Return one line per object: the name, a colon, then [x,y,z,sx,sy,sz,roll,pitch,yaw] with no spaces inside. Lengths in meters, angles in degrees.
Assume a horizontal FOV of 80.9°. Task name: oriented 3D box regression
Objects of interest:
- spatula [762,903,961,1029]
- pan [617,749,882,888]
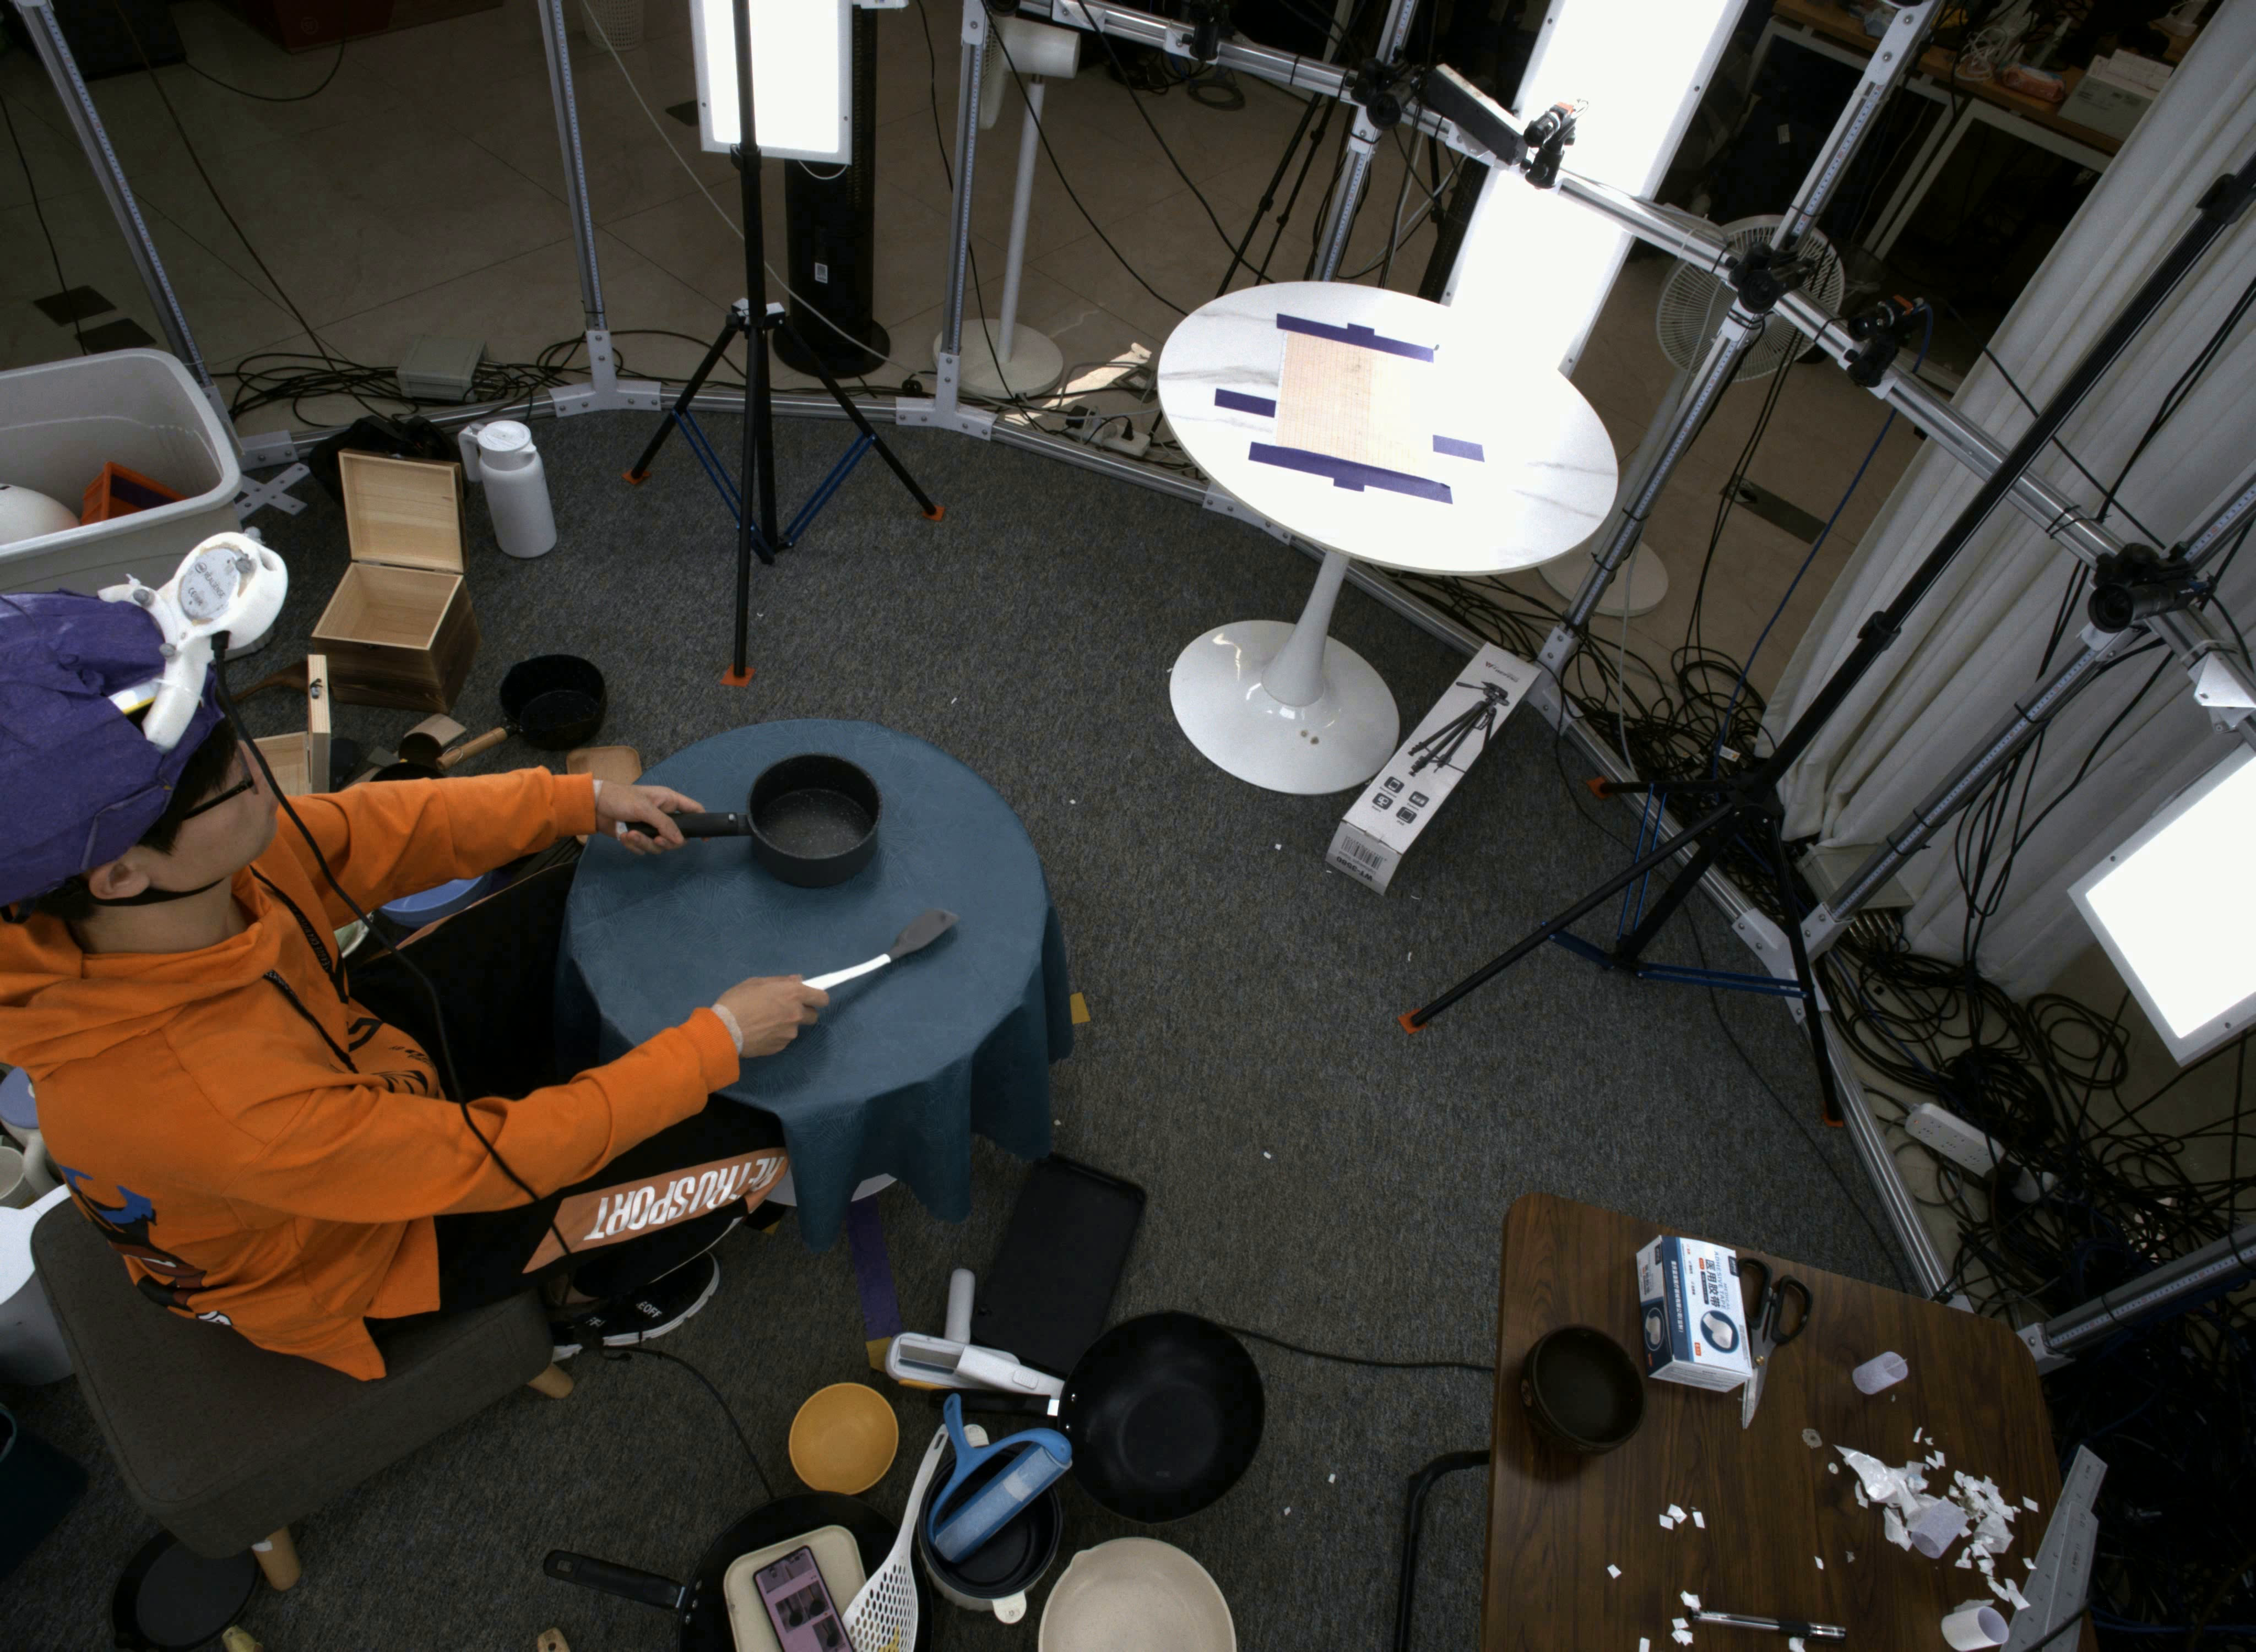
spatula: [-0.319,0.163,1.577,0.056,0.033,0.289,12,29,38]
pan: [-0.480,-0.002,1.643,0.331,0.088,0.168,-5,55,-21]
